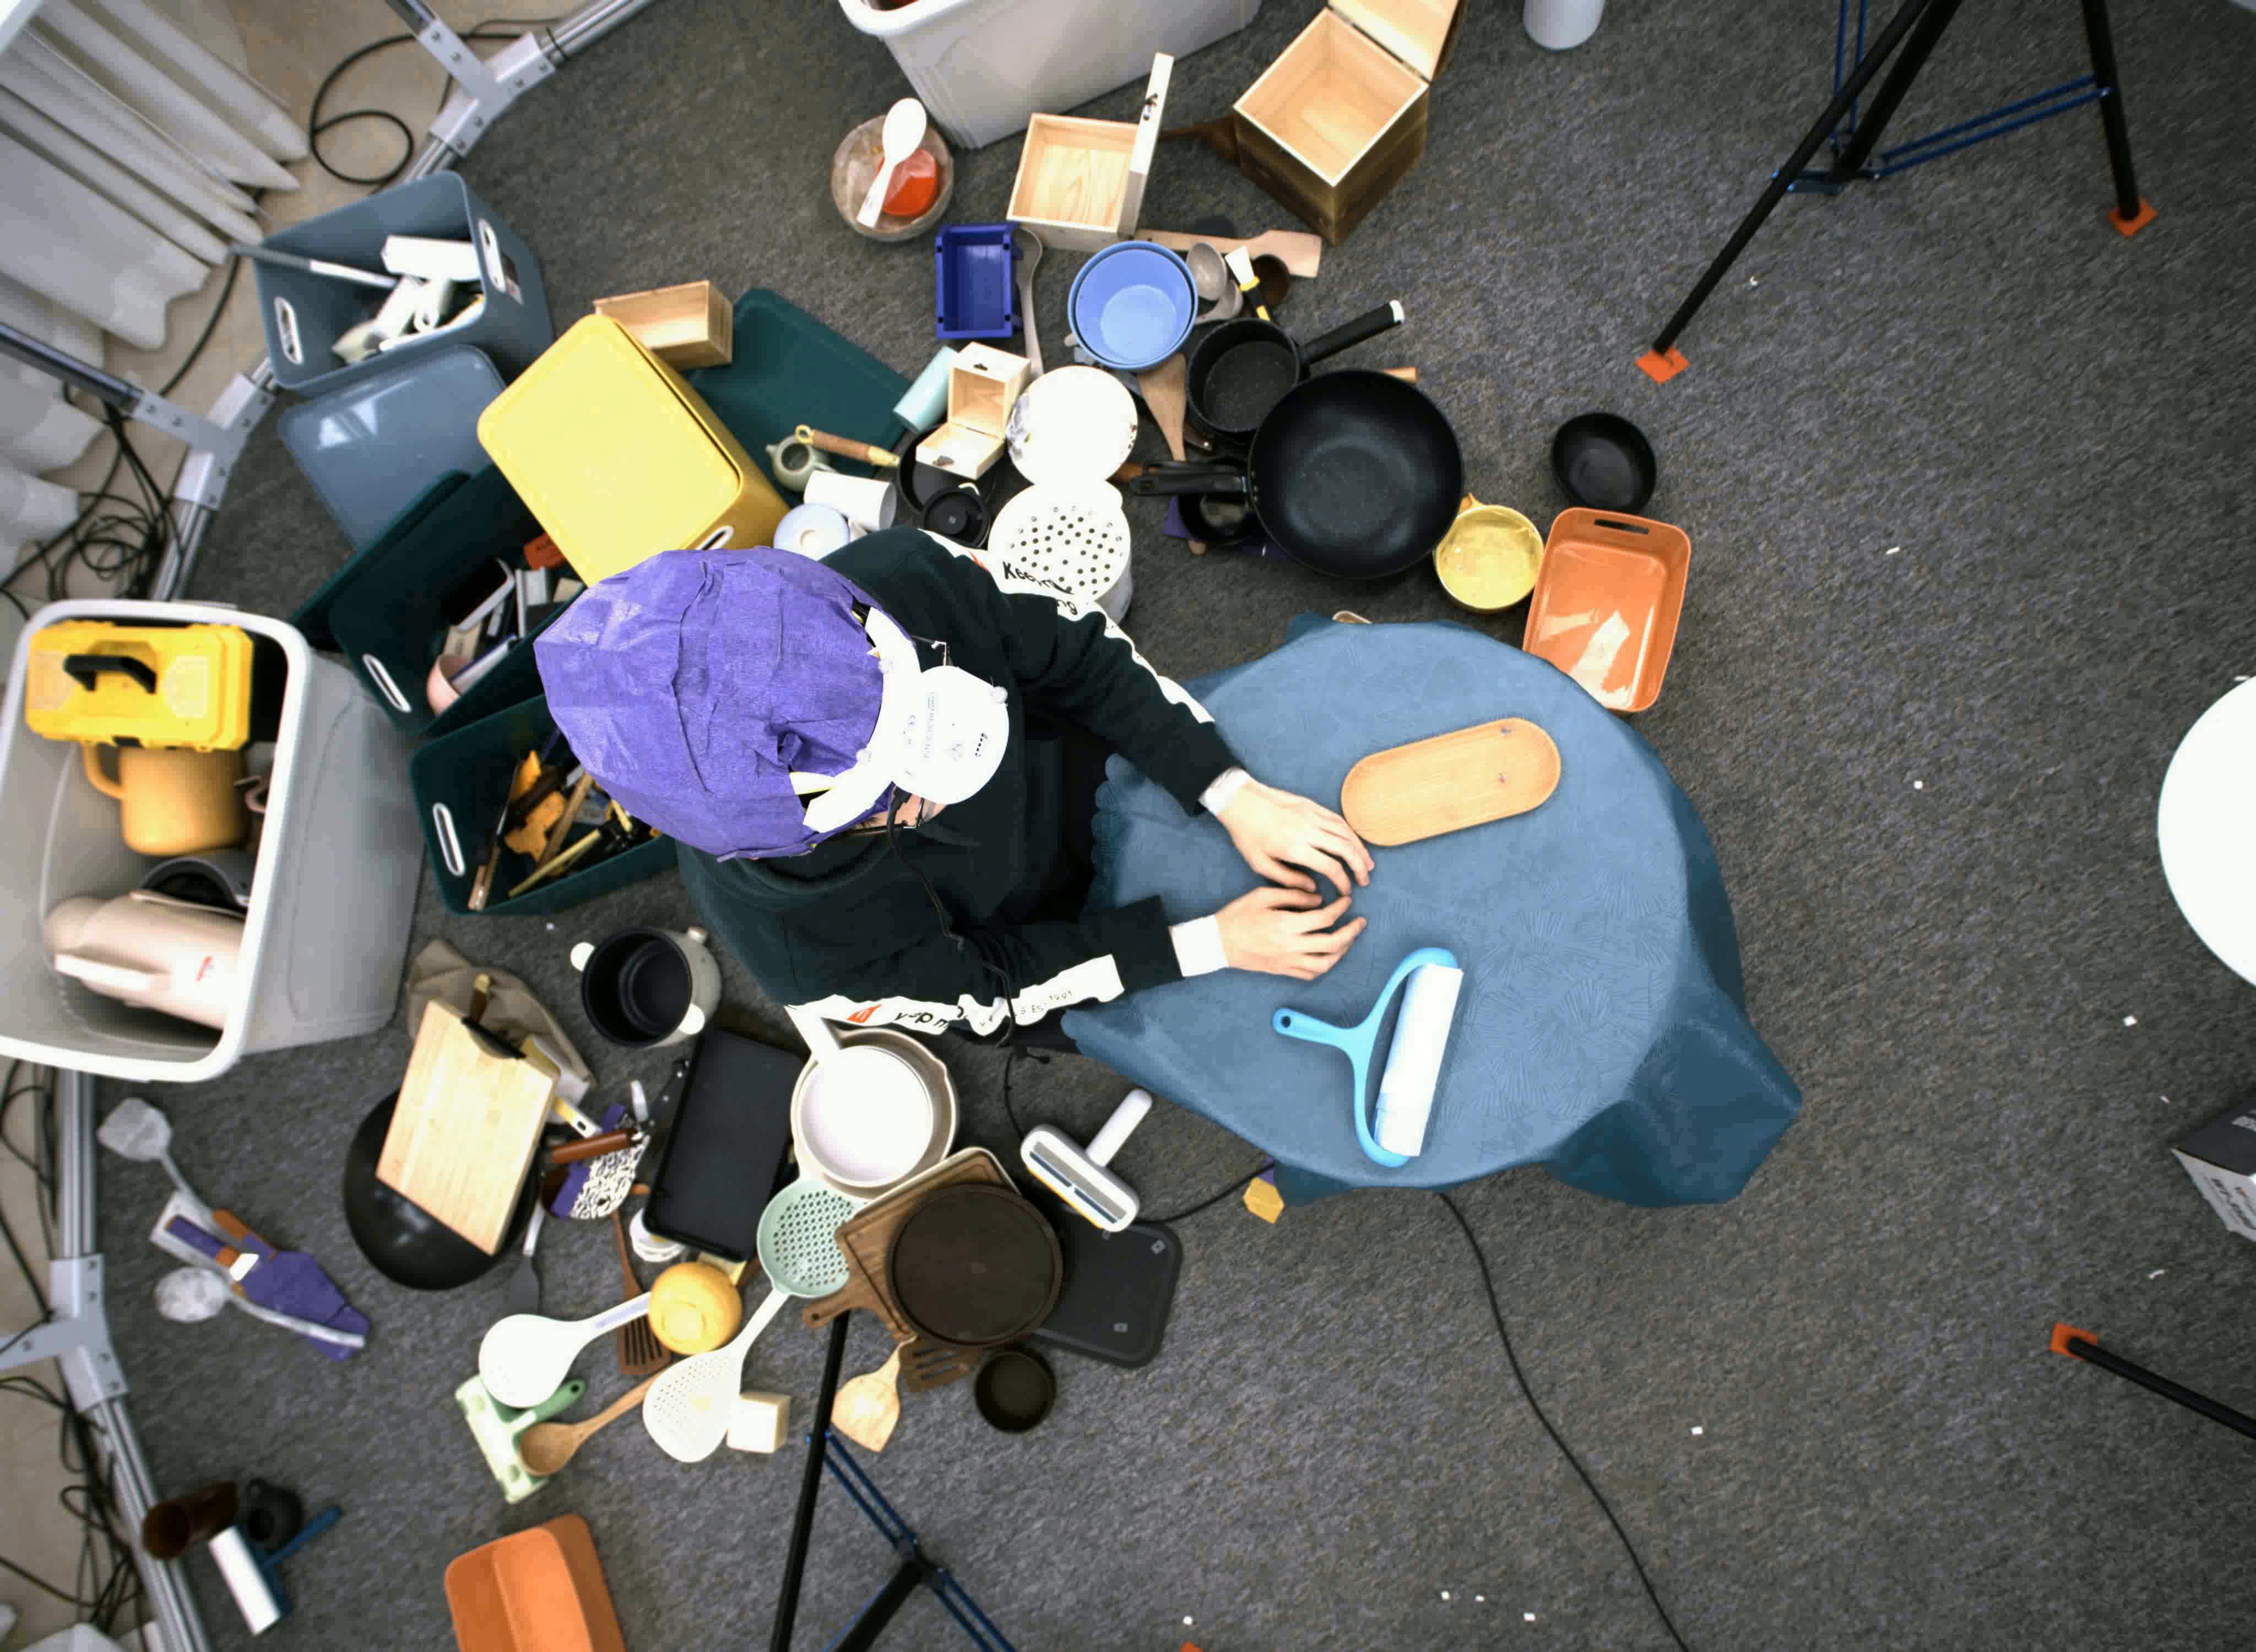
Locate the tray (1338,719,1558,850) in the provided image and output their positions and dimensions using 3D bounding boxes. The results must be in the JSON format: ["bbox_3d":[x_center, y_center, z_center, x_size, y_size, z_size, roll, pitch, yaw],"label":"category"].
[{"bbox_3d":[0.334,-0.045,1.441,0.232,0.020,0.101,-17,83,11],"label":"tray"}]

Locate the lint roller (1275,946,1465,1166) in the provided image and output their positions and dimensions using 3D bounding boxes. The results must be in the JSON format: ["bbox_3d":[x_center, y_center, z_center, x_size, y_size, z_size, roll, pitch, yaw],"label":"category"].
[{"bbox_3d":[0.238,0.222,1.424,0.180,0.068,0.229,12,91,10],"label":"lint roller"}]
